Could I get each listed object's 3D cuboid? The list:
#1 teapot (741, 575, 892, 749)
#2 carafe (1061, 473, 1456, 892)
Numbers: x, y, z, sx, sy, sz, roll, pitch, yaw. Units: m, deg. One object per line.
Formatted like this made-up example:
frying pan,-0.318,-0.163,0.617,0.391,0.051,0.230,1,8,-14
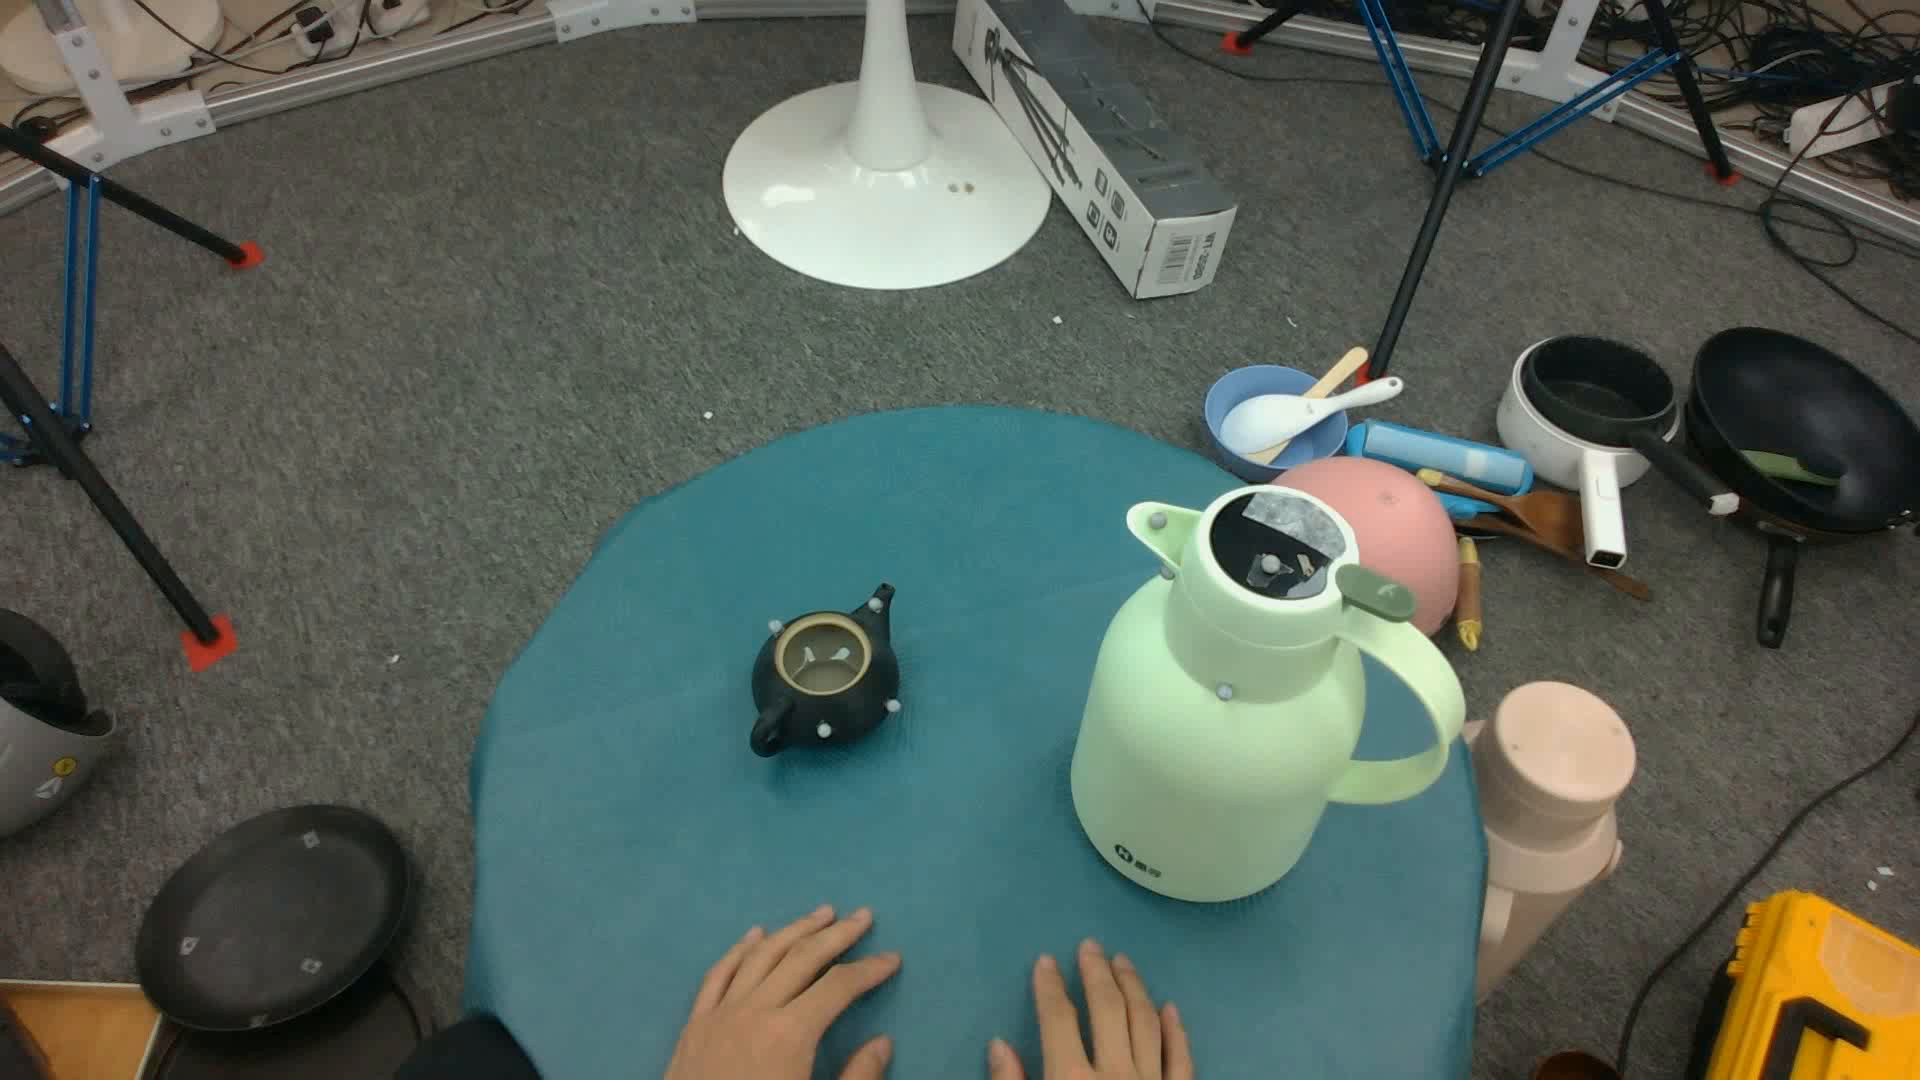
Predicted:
teapot,-0.087,0.079,0.839,0.091,0.053,0.134,29,55,20
carafe,0.152,0.080,0.730,0.187,0.255,0.145,28,54,13
